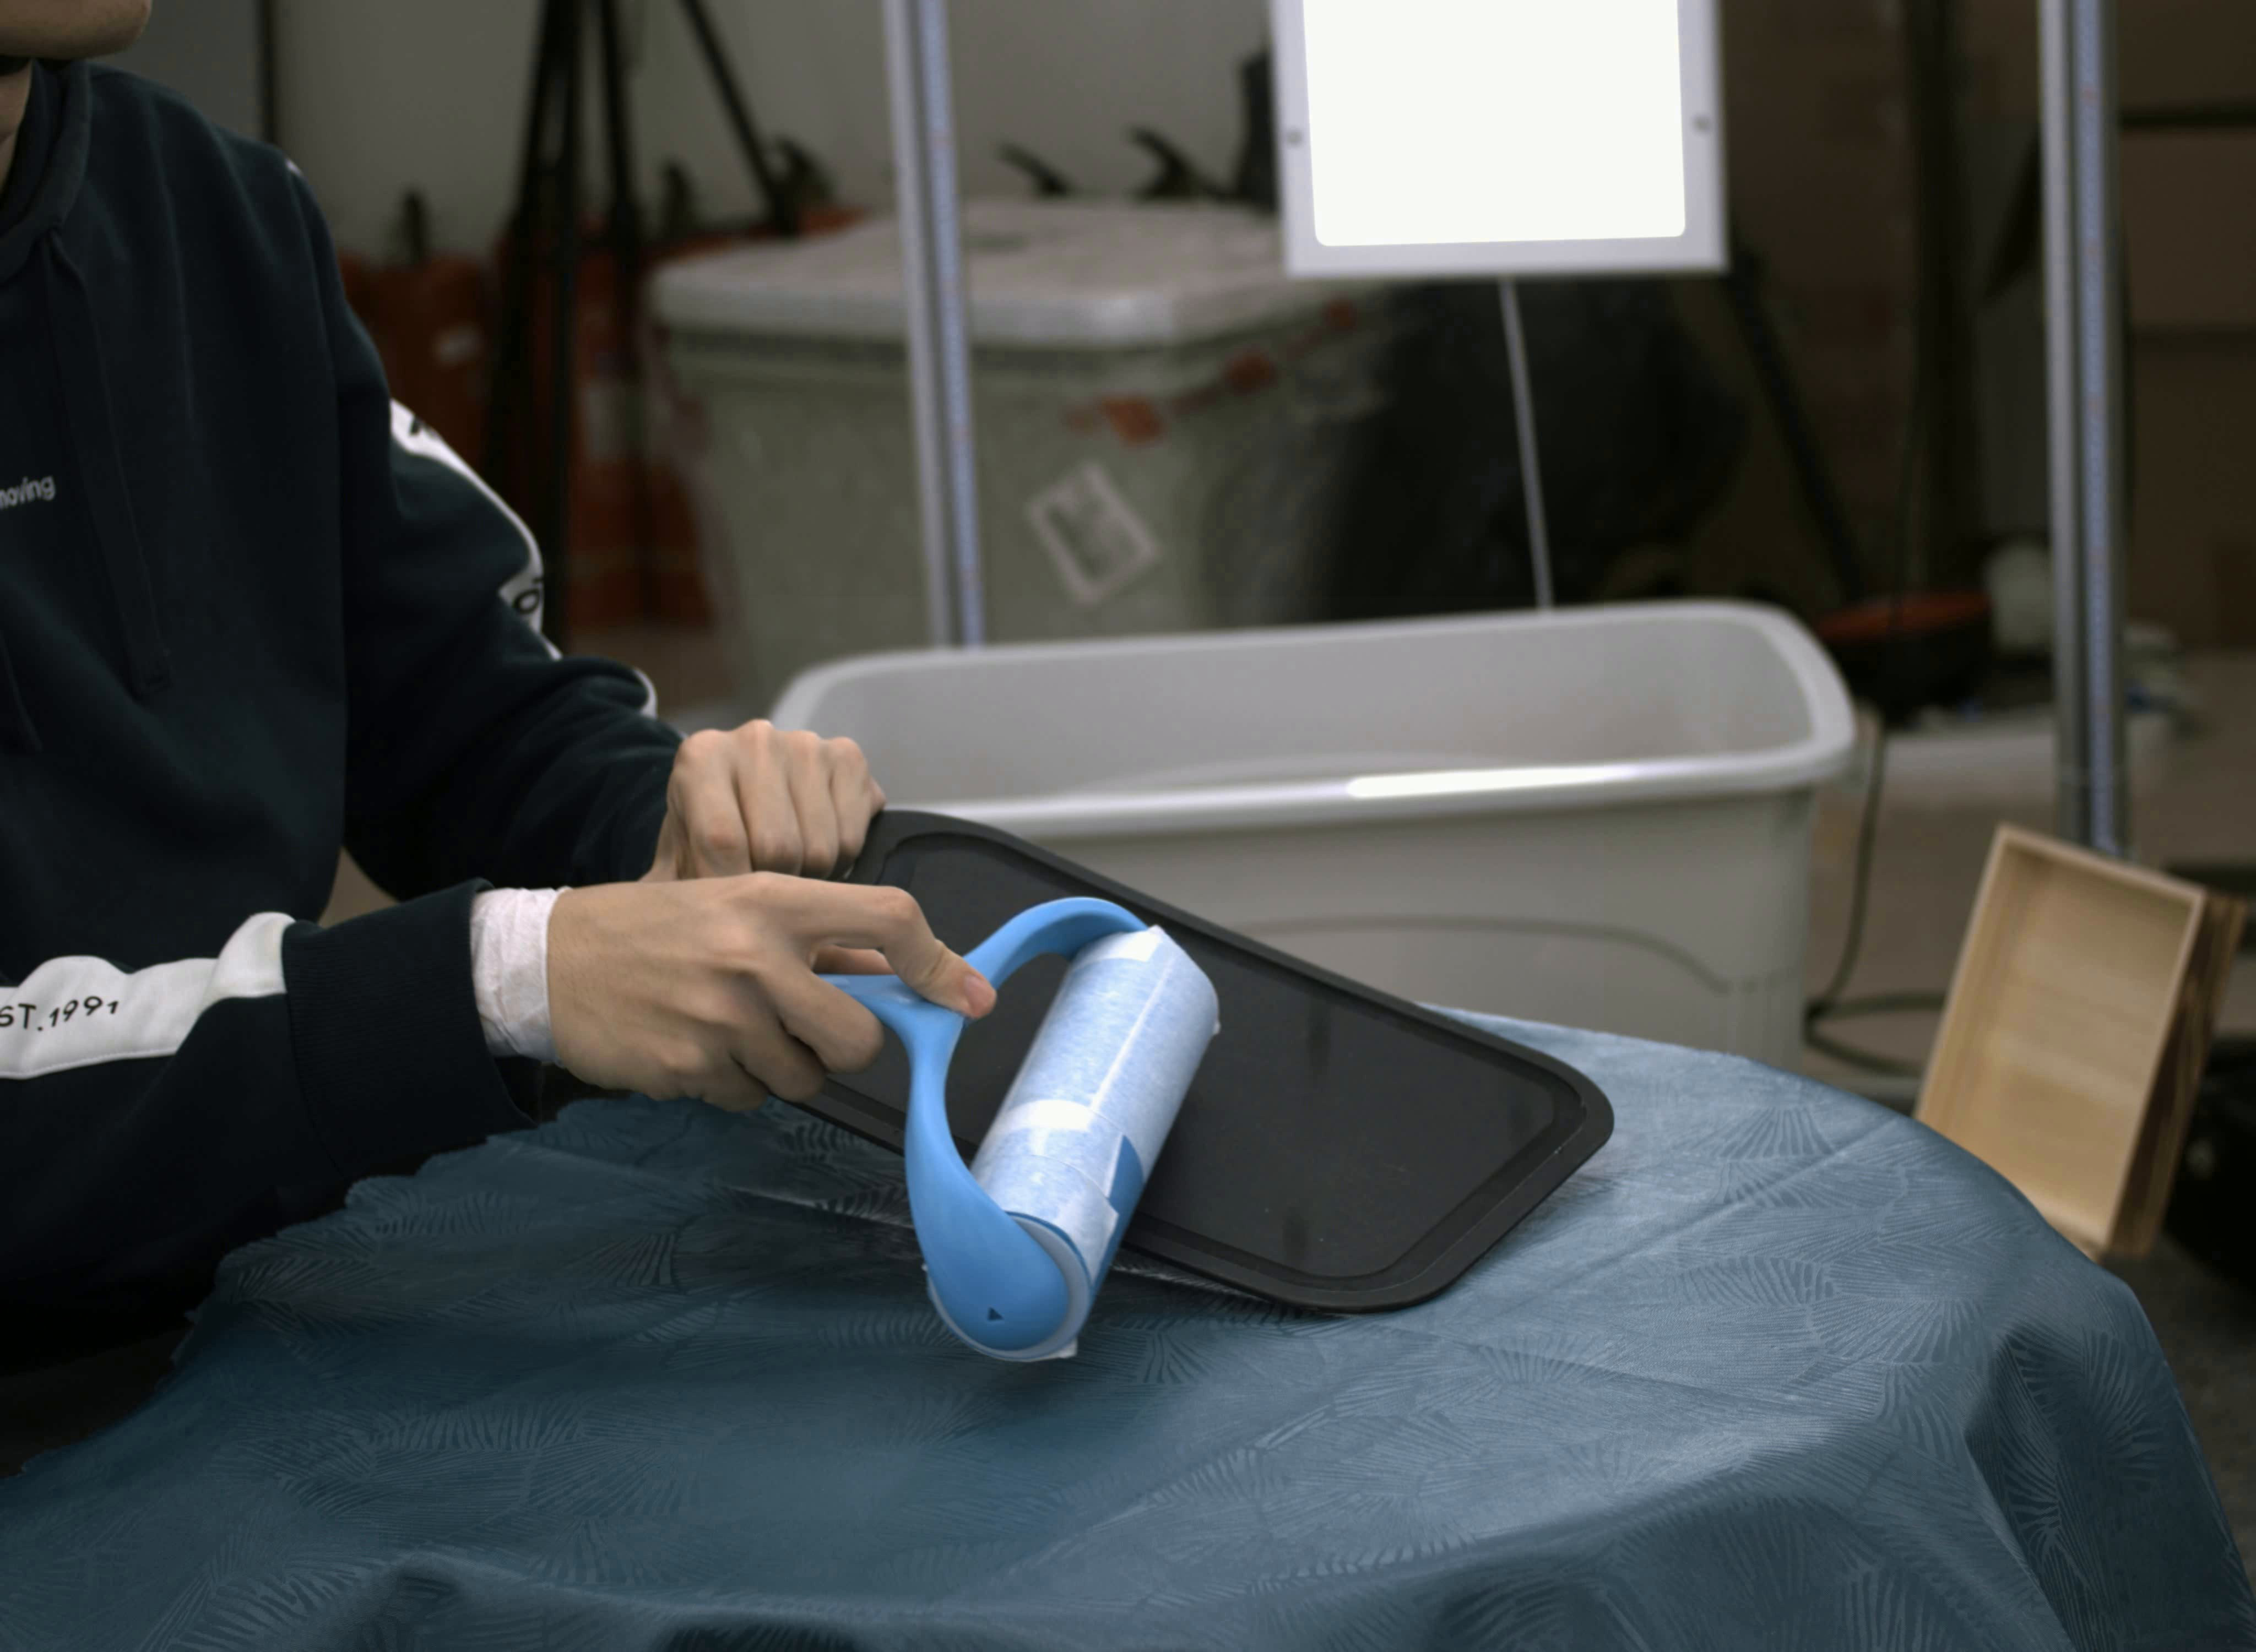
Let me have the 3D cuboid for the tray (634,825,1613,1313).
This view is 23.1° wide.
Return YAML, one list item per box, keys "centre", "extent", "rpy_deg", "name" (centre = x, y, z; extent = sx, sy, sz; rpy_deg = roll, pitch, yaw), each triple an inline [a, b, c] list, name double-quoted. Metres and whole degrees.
- centre: [-0.008, 0.074, 1.879]
  extent: [0.330, 0.010, 0.206]
  rpy_deg: [21, 30, 24]
  name: "tray"

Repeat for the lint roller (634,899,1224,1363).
- centre: [-0.069, 0.083, 1.781]
  extent: [0.180, 0.068, 0.226]
  rpy_deg: [16, 30, 3]
  name: "lint roller"
